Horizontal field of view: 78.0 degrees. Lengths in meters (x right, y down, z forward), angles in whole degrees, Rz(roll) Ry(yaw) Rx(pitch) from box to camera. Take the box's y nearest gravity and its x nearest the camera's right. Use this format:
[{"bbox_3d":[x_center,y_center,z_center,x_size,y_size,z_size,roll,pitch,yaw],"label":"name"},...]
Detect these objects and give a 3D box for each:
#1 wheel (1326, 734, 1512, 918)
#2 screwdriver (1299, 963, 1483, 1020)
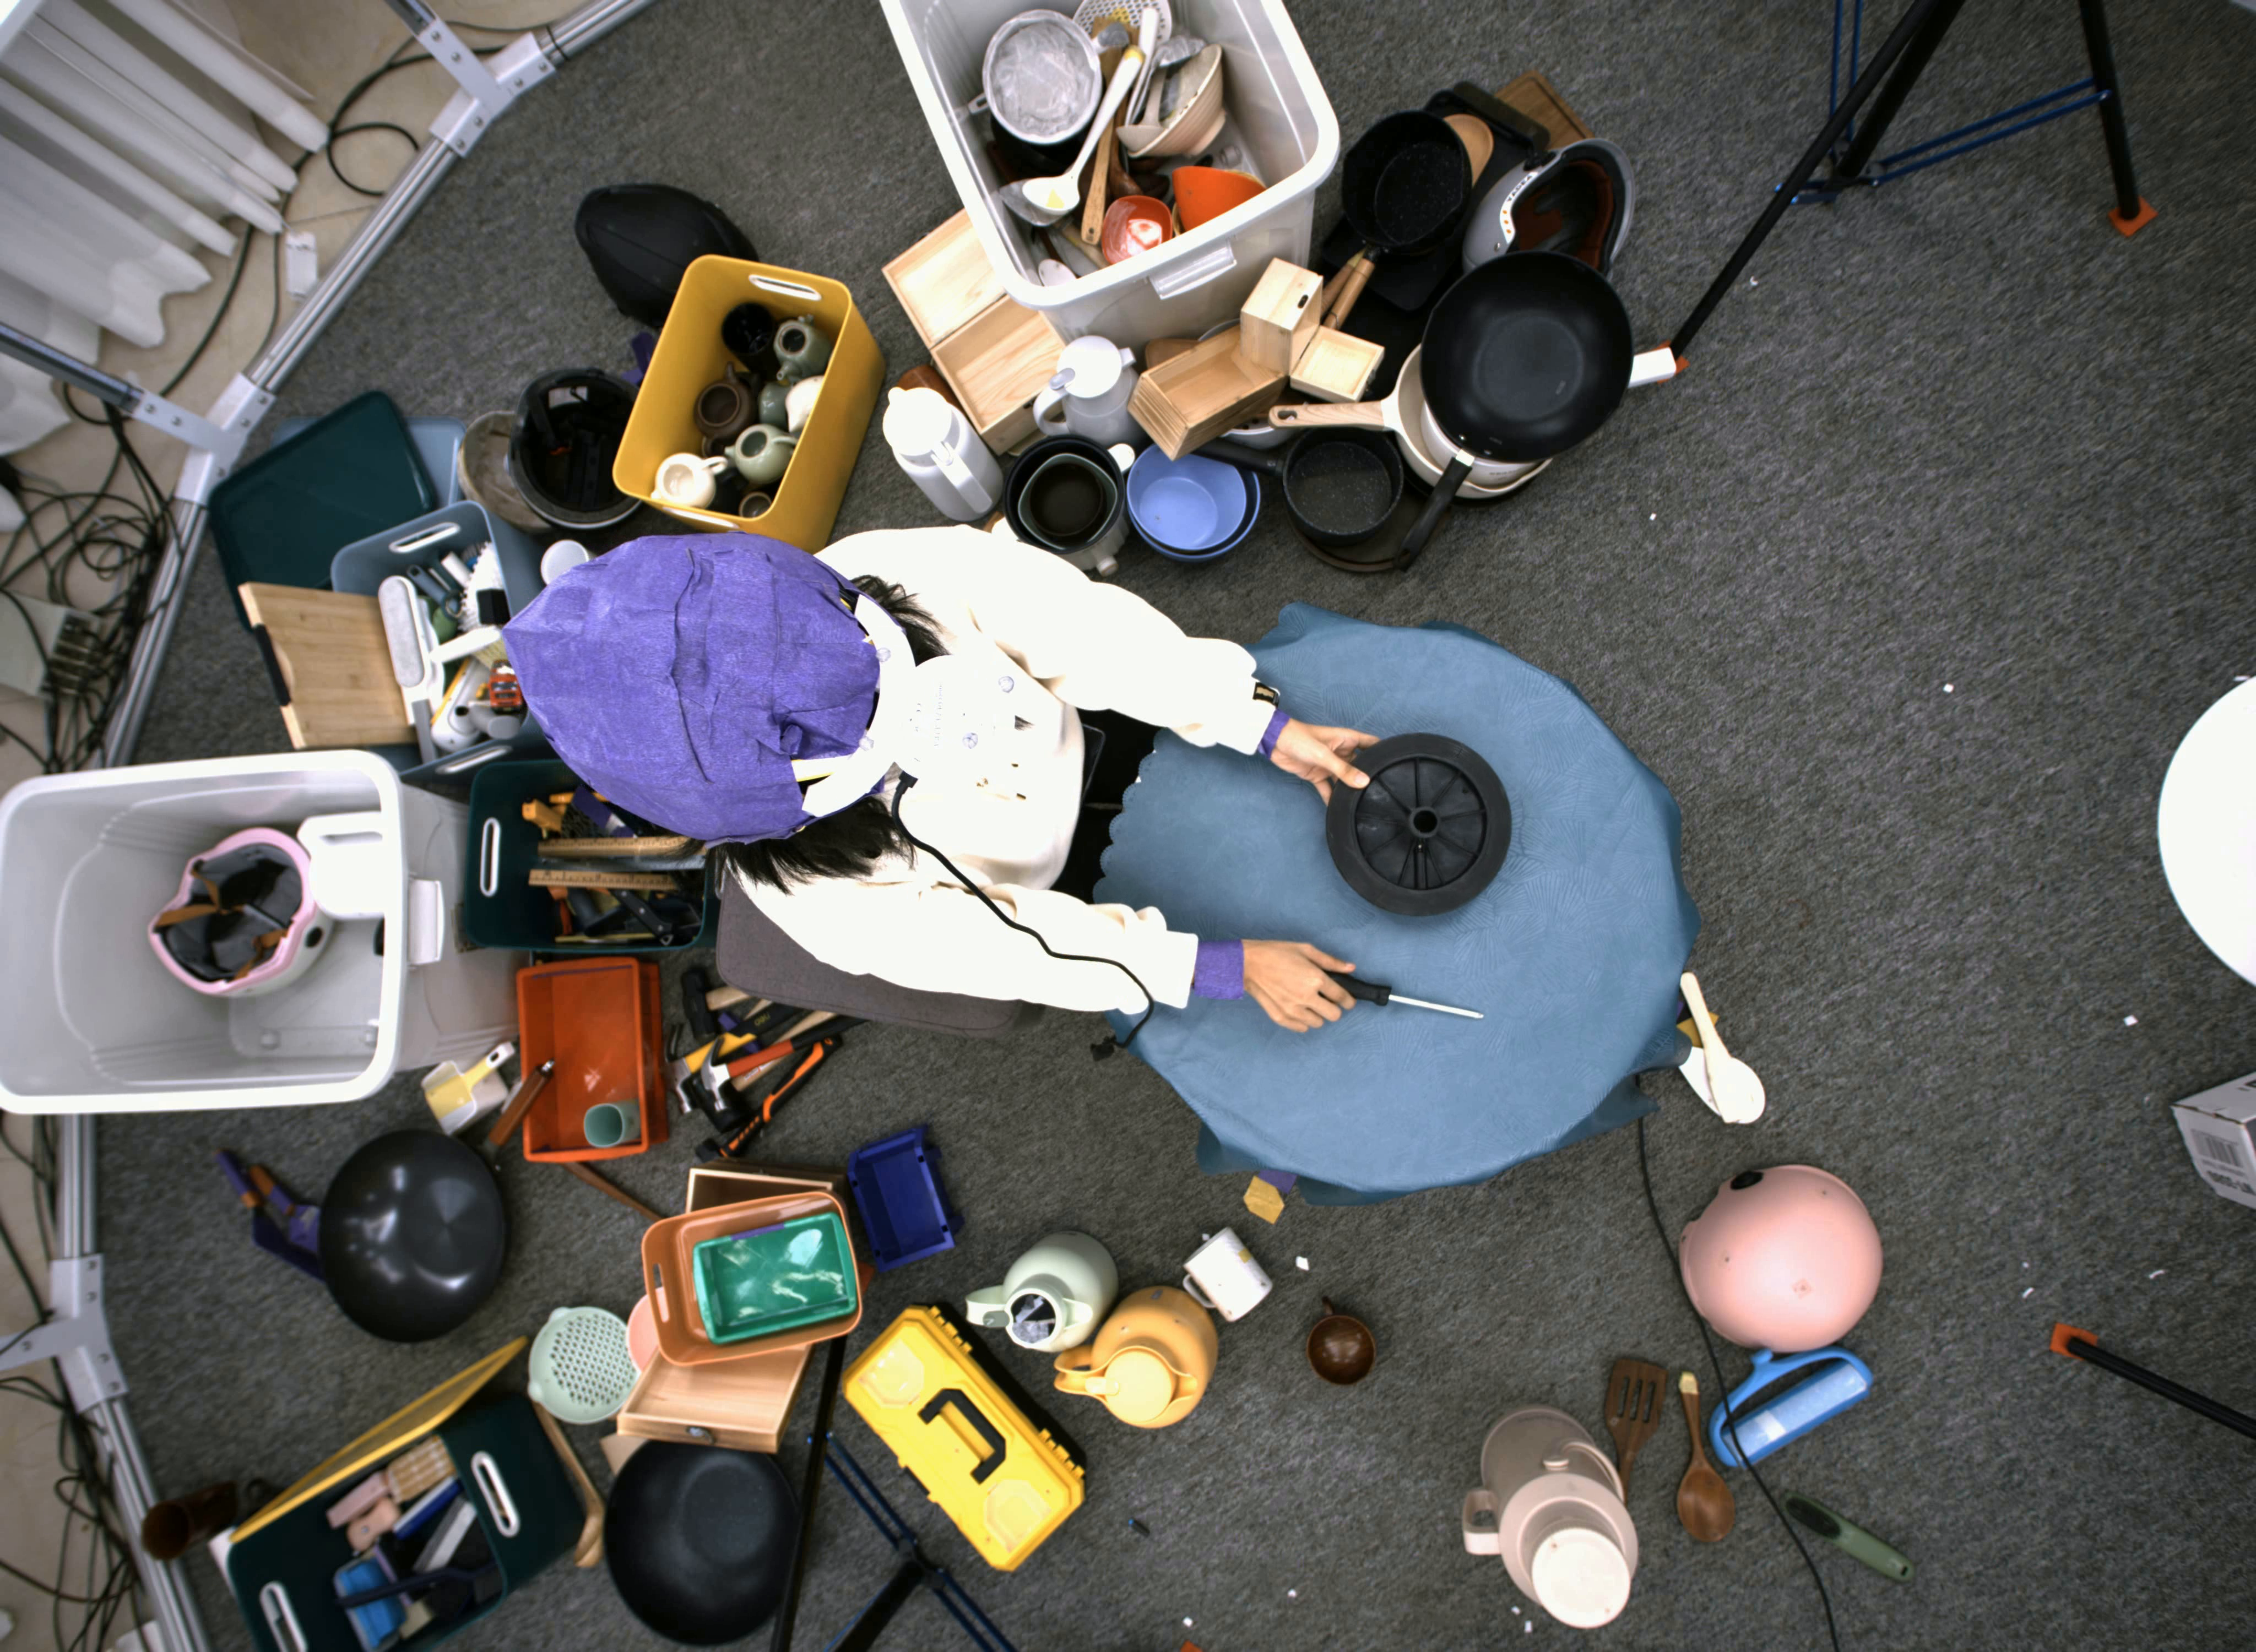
[{"bbox_3d":[0.296,-0.002,1.392,0.188,0.079,0.189,-26,89,6],"label":"wheel"},{"bbox_3d":[0.274,0.171,1.433,0.196,0.031,0.031,11,87,2],"label":"screwdriver"}]
